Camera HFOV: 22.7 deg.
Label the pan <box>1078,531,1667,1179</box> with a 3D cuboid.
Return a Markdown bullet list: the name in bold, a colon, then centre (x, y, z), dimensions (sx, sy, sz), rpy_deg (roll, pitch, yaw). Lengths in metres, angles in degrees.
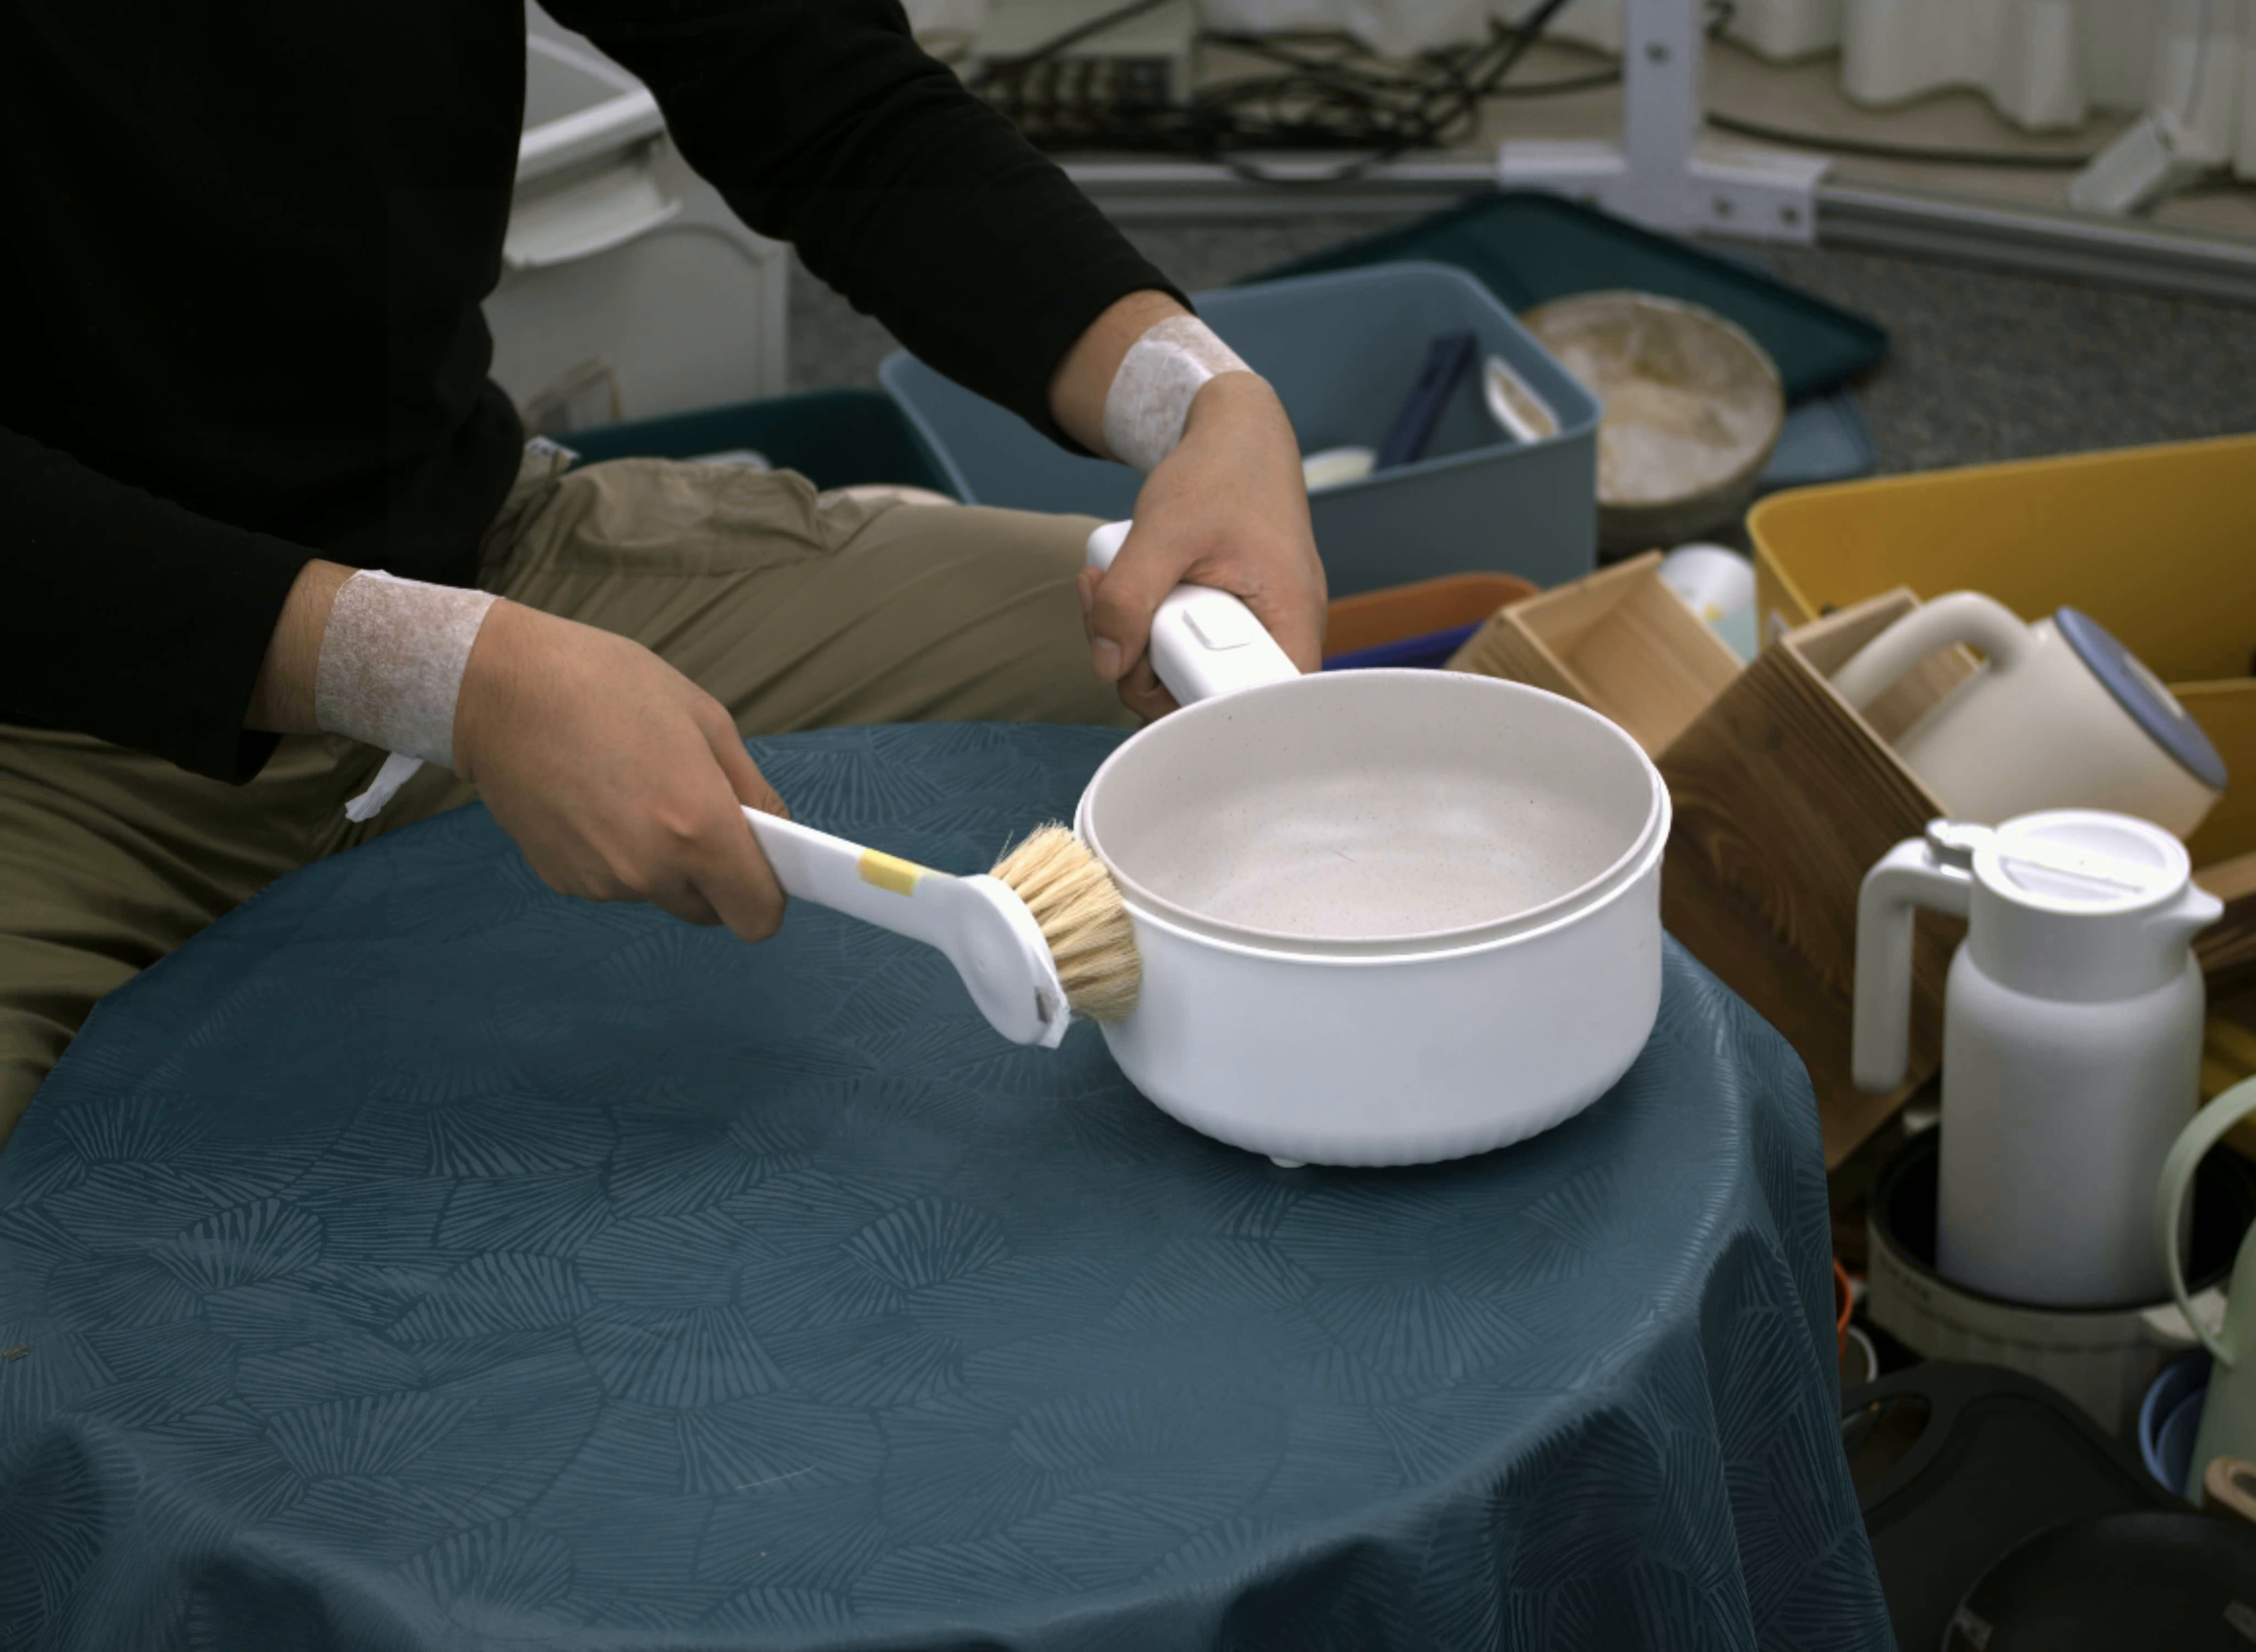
- **pan**: centre (0.061, 0.007, 1.979), dimensions (0.201, 0.101, 0.358), rpy_deg (-13, 28, -14)

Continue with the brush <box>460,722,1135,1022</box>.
- **brush**: centre (-0.110, 0.002, 1.908), dimensions (0.265, 0.067, 0.057), rpy_deg (20, 38, 30)
